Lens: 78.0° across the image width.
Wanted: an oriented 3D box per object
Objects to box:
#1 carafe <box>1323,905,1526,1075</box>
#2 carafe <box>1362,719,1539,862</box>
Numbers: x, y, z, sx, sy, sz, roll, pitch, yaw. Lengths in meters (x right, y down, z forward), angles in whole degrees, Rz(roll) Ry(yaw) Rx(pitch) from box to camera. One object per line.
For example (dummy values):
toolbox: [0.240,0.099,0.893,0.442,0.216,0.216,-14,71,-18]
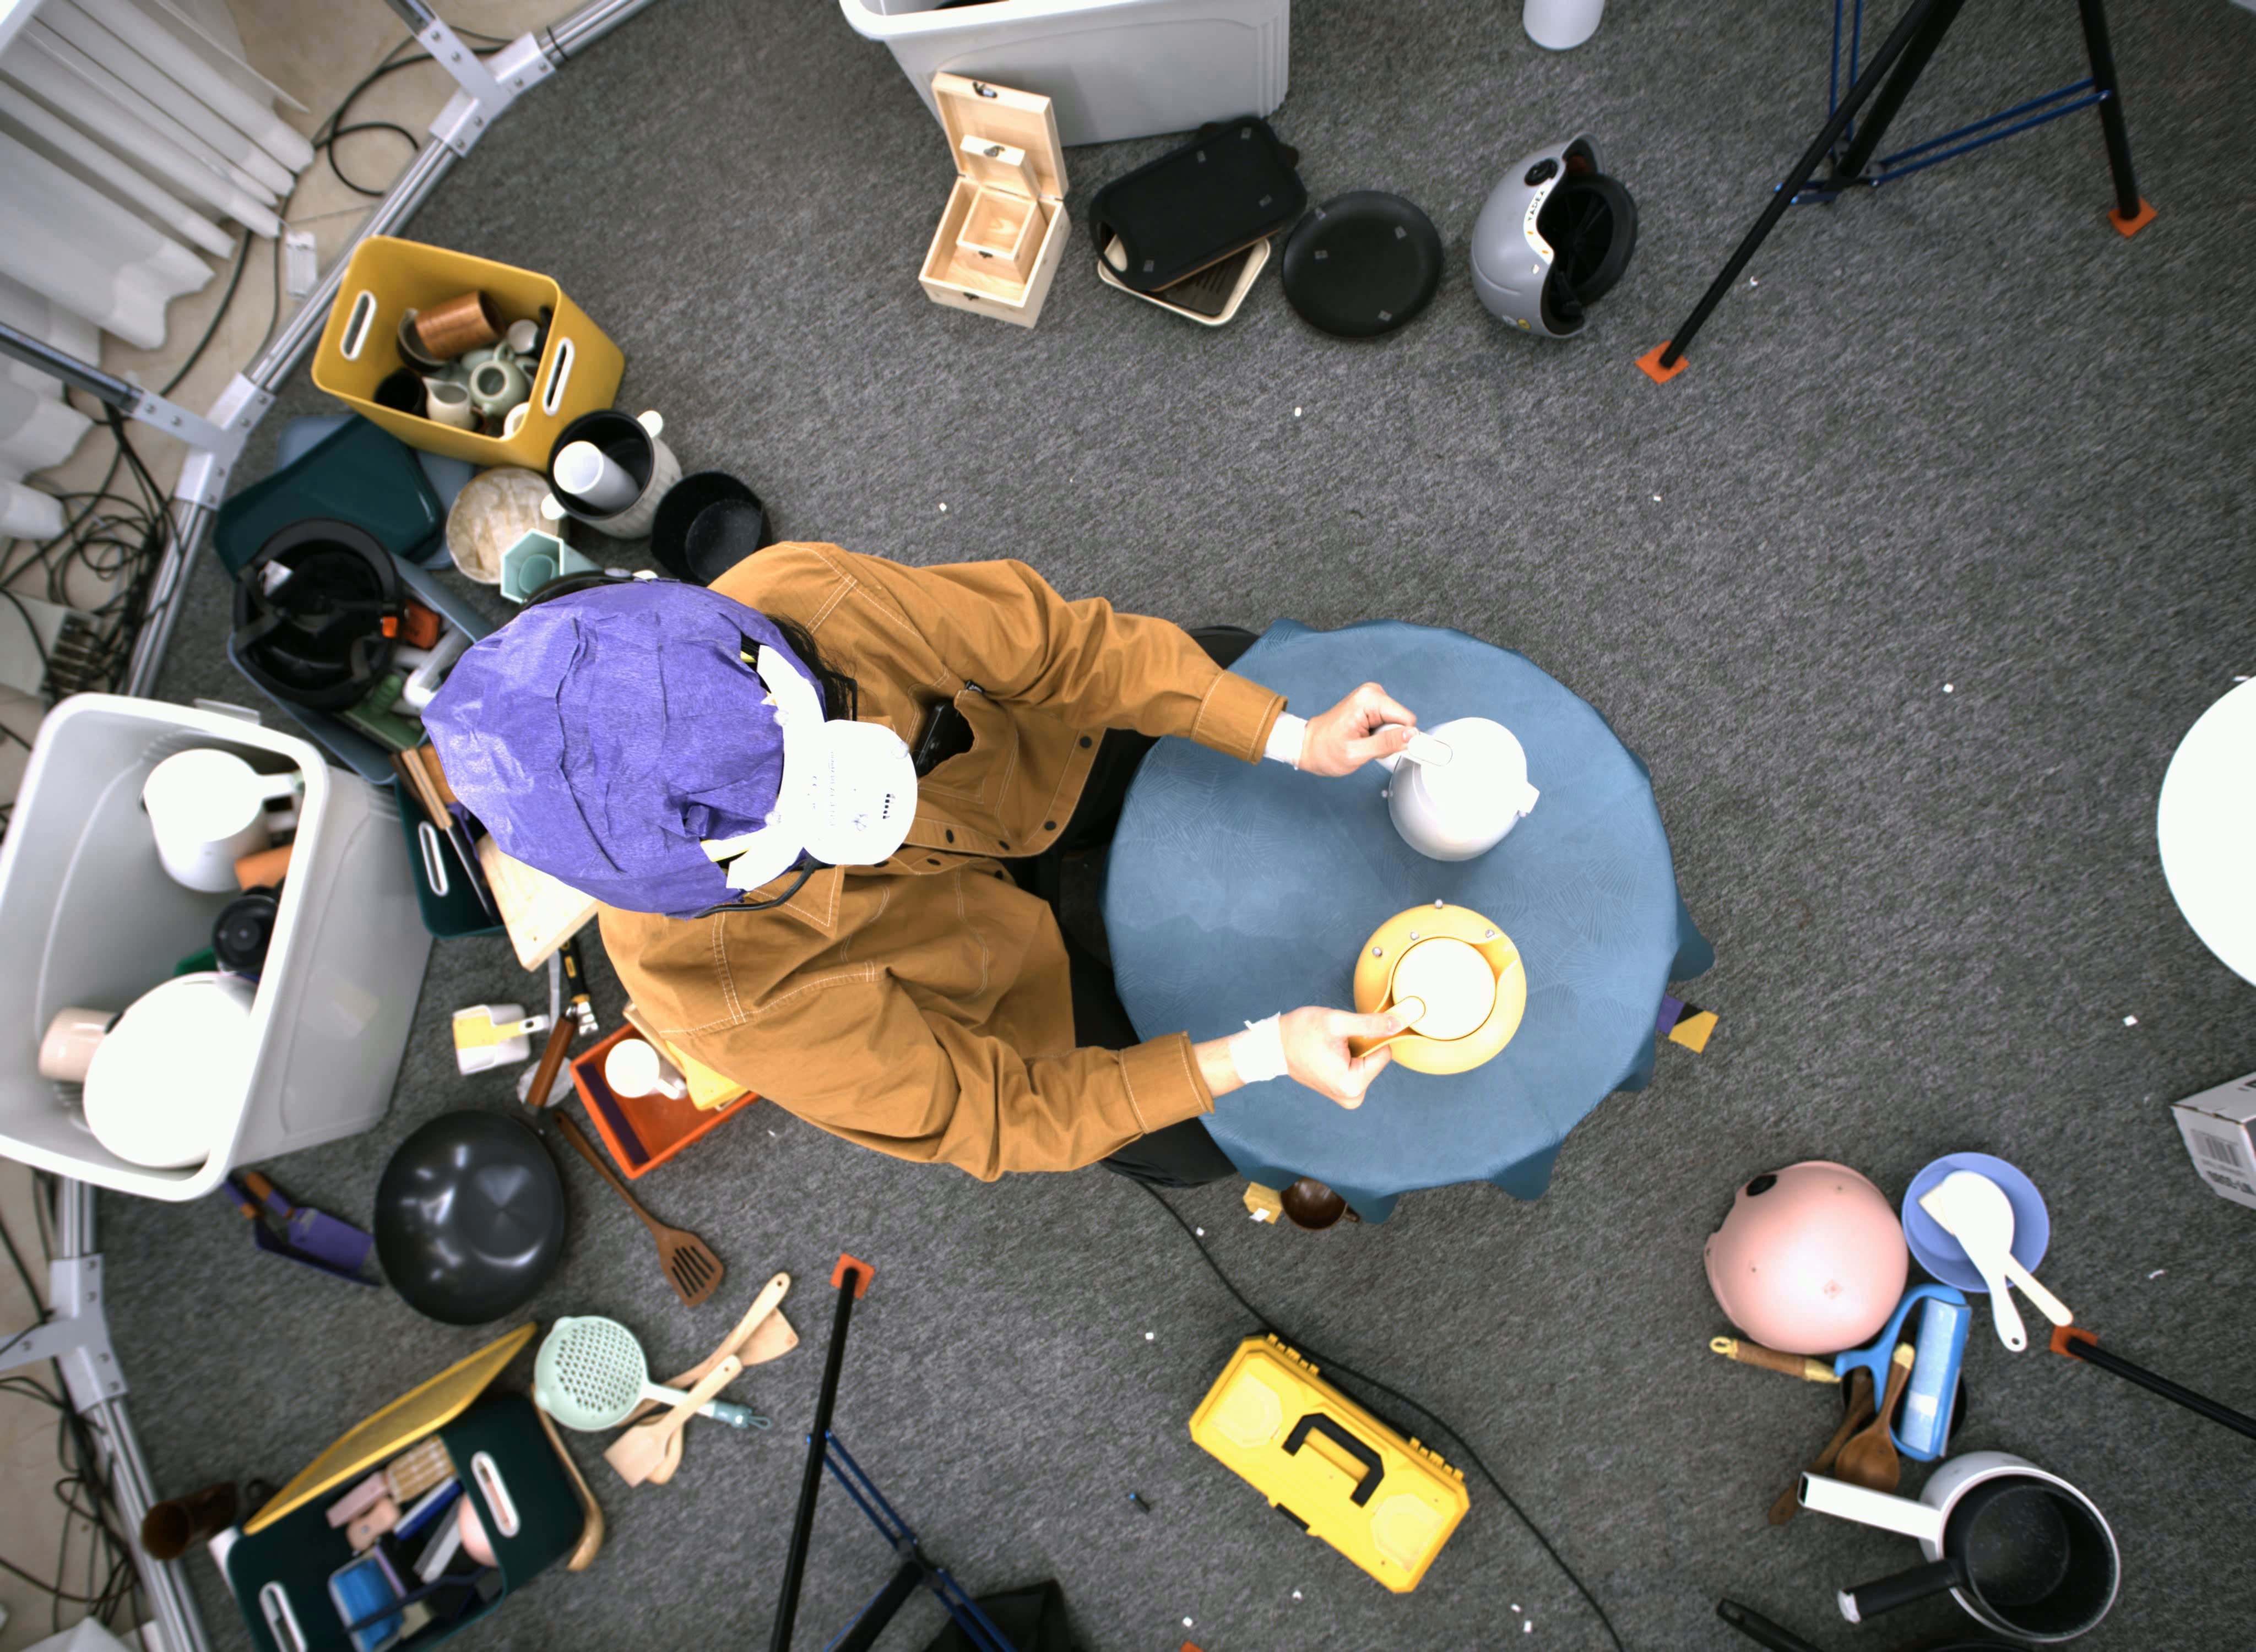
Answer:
carafe: [0.279,0.164,1.323,0.203,0.261,0.162,-31,78,6]
carafe: [0.305,-0.048,1.332,0.167,0.249,0.132,27,90,10]
